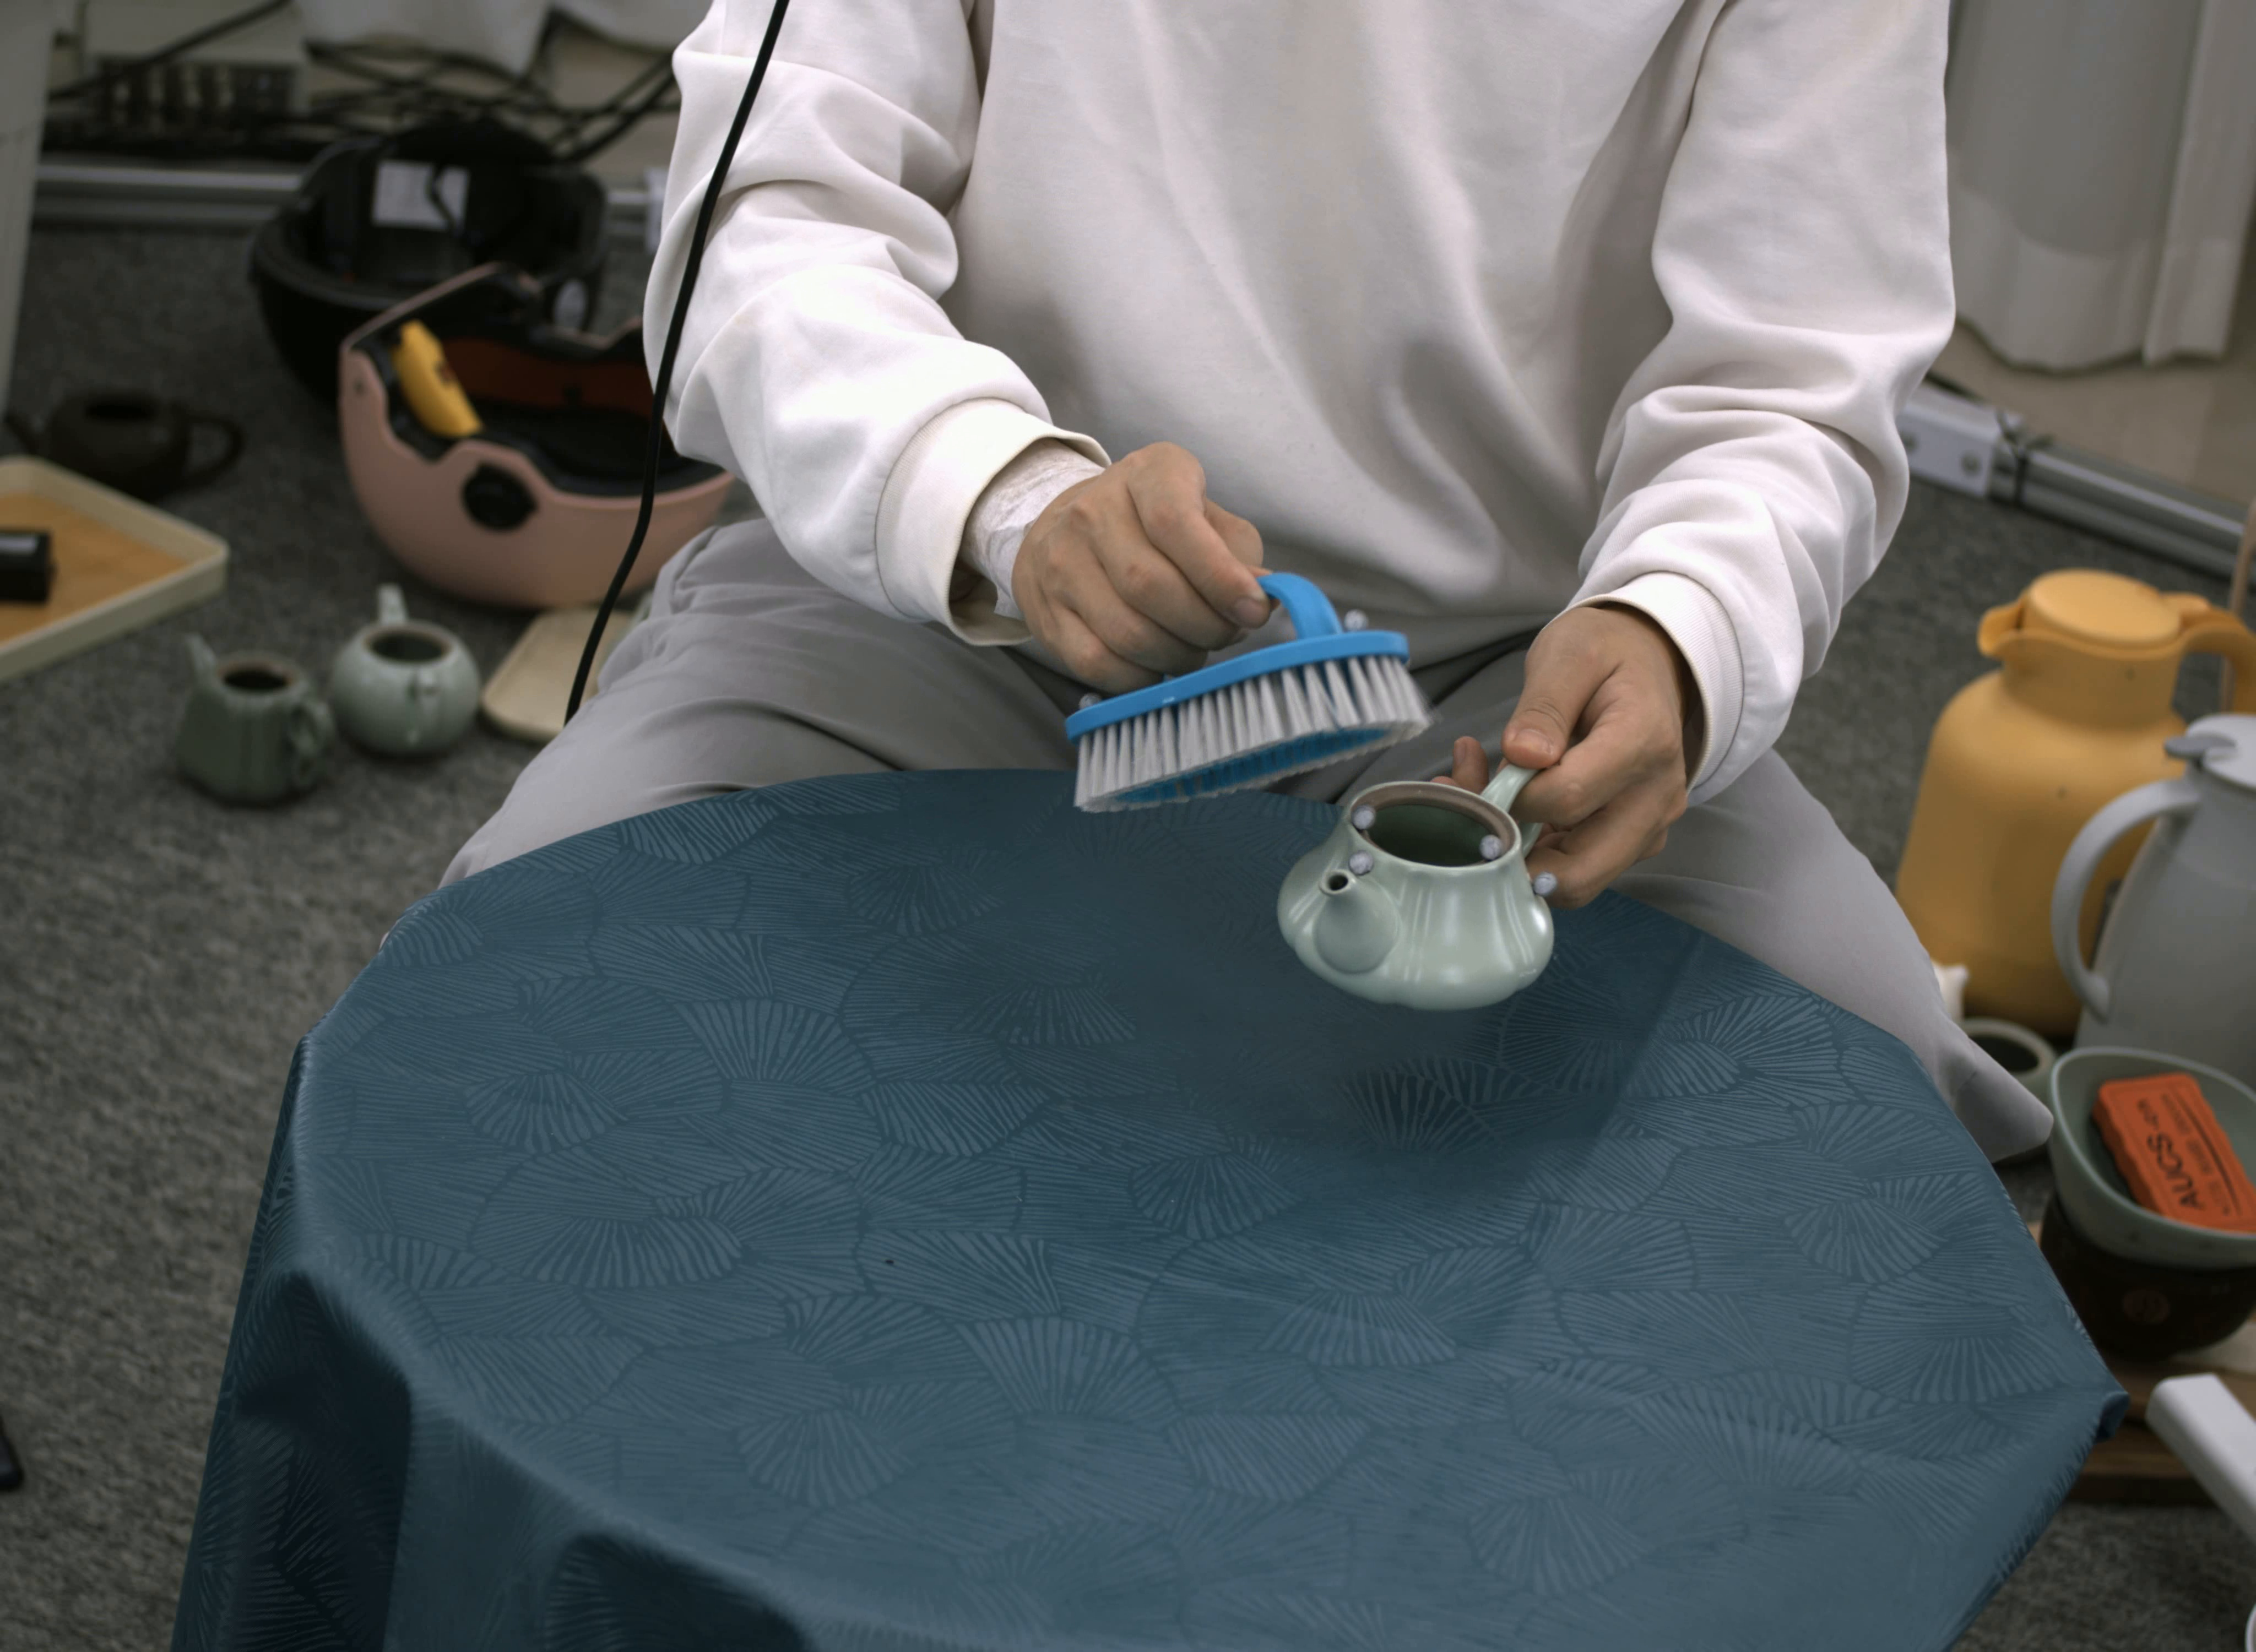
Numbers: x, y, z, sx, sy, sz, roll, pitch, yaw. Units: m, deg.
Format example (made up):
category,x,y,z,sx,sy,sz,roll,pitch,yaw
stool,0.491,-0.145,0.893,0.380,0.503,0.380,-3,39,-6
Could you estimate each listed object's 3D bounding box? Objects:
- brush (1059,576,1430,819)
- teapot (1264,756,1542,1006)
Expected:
category,x,y,z,sx,sy,sz,roll,pitch,yaw
brush,0.034,-0.049,1.844,0.142,0.064,0.084,-19,-7,41
teapot,0.099,0.021,1.844,0.097,0.061,0.136,21,30,29
